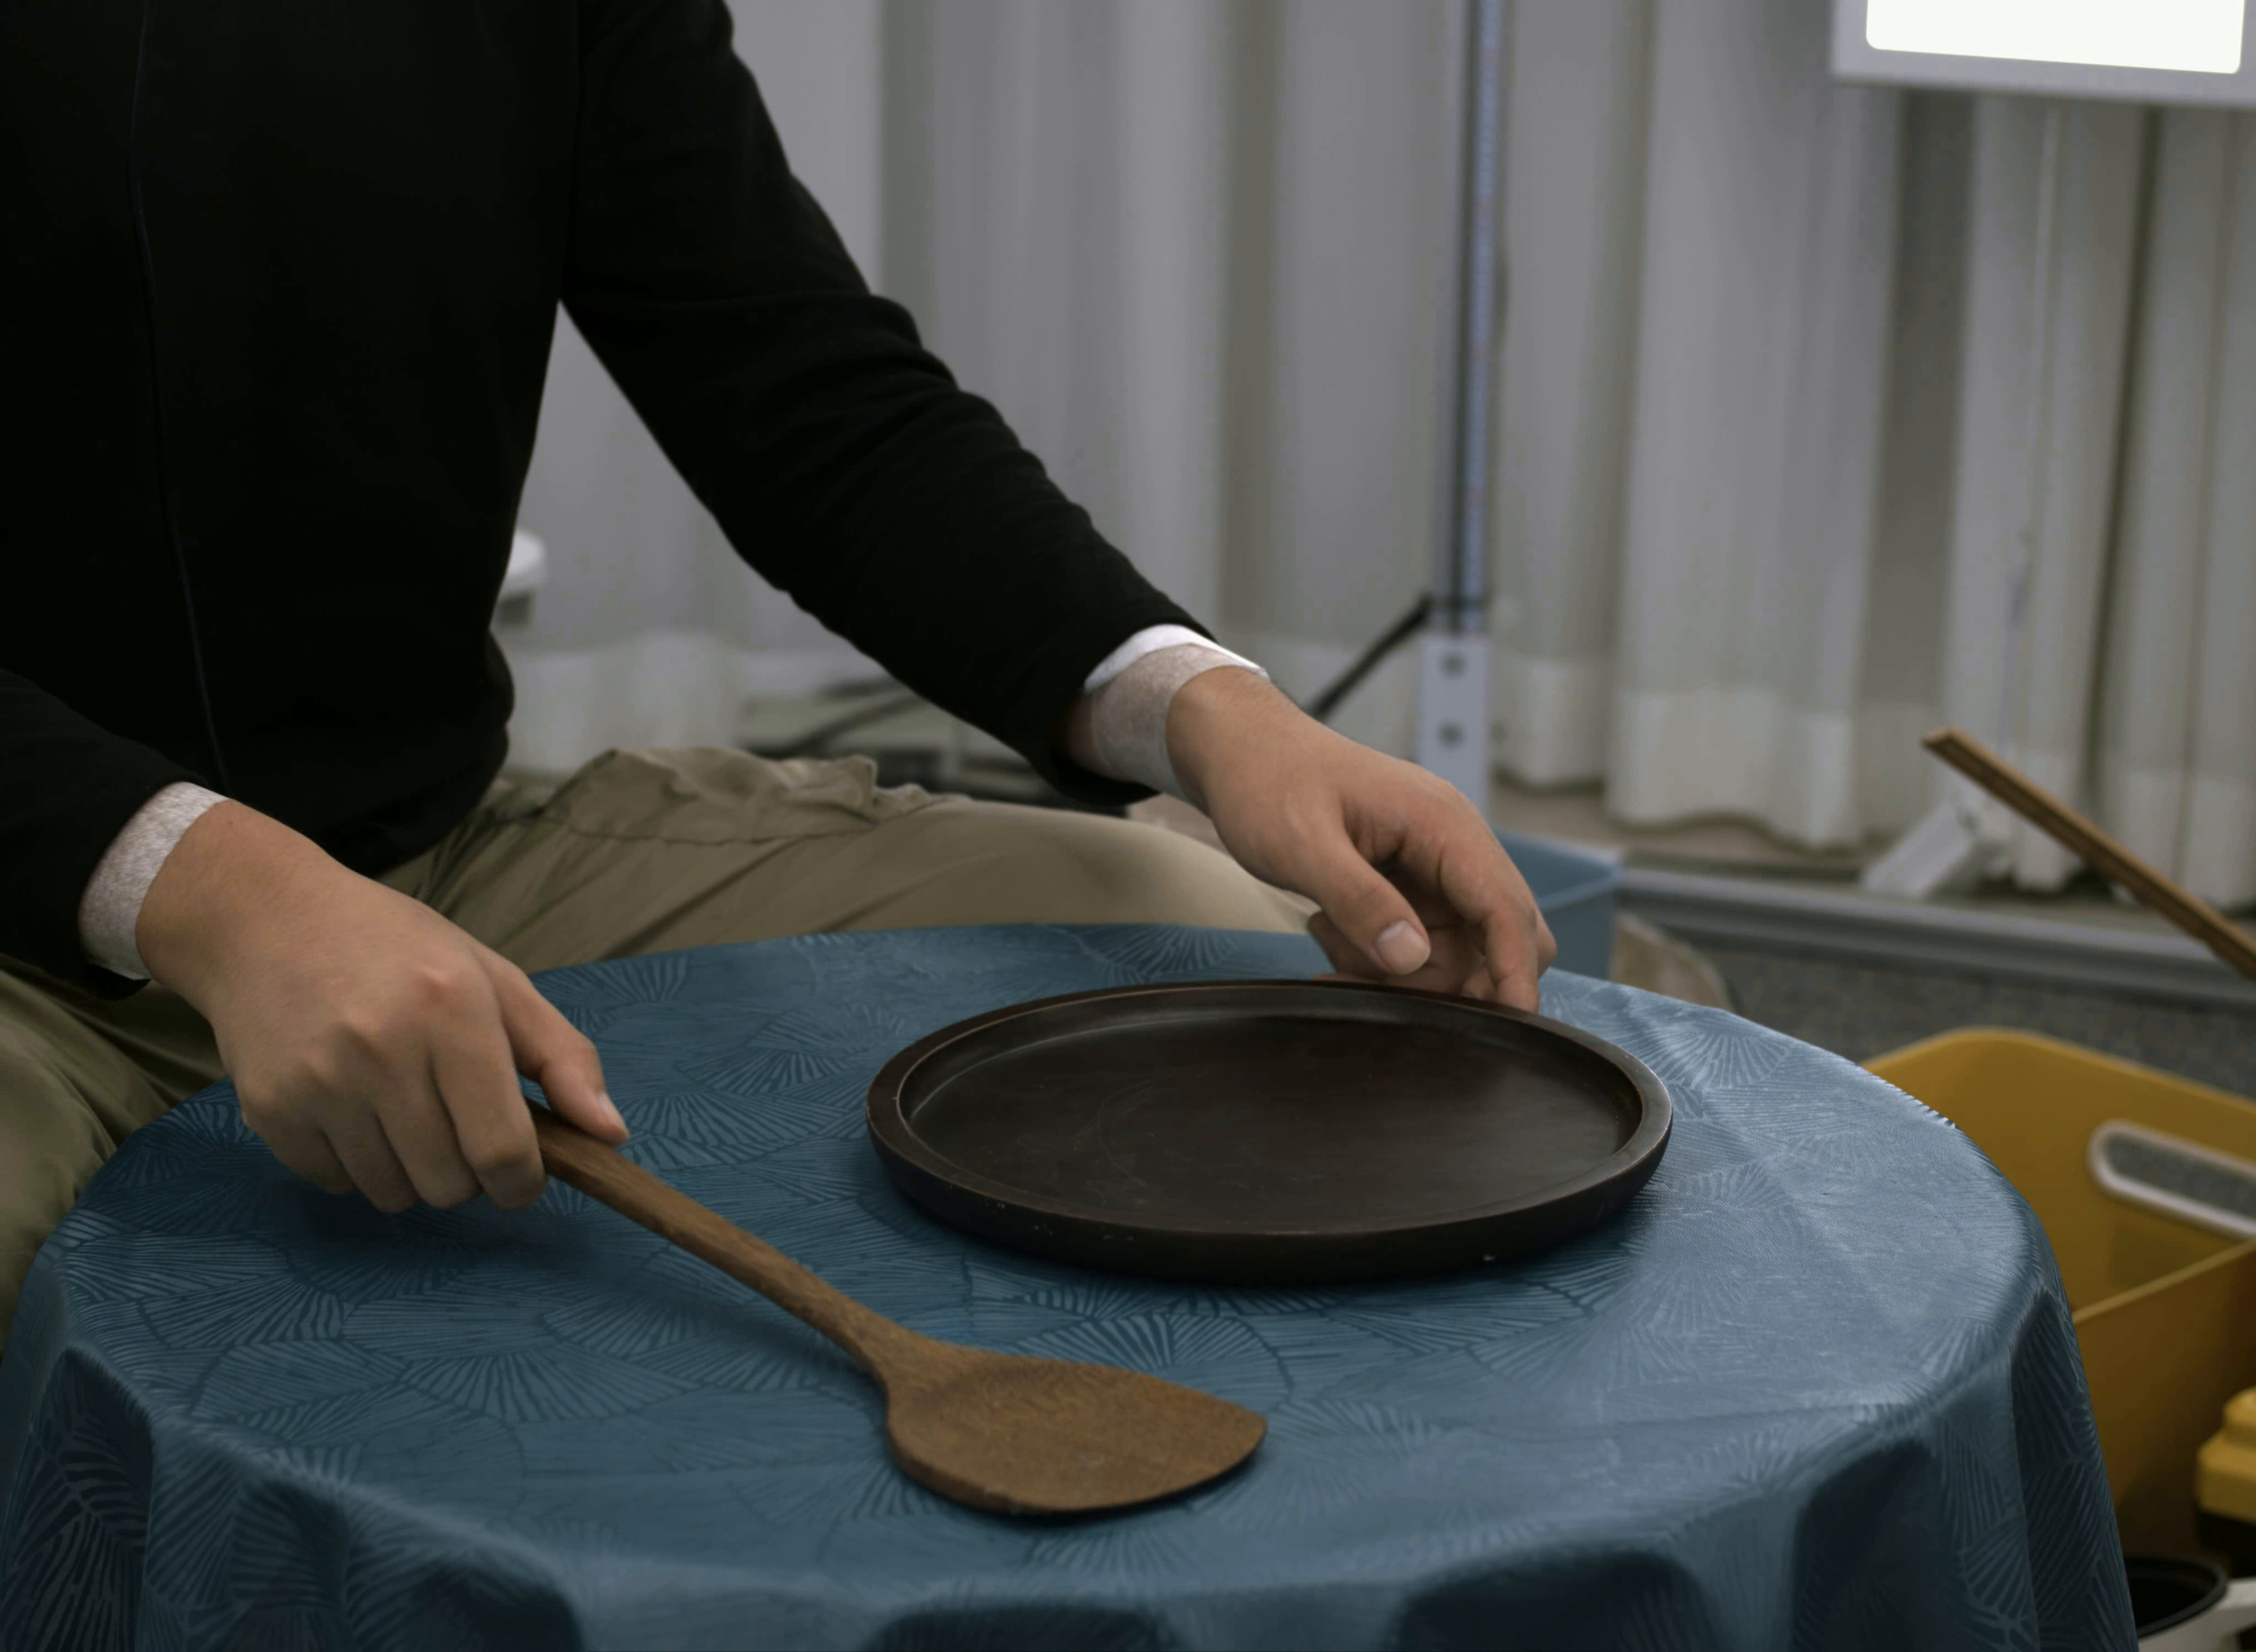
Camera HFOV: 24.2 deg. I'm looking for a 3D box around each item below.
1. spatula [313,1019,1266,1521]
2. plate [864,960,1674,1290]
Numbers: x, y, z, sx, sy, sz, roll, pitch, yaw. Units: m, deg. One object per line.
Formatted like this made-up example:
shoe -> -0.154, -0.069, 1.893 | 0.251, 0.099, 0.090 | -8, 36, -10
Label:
spatula -> -0.117, 0.119, 1.507 | 0.096, 0.016, 0.380 | -14, 28, -42
plate -> 0.044, 0.094, 1.644 | 0.254, 0.029, 0.253 | -1, 16, 1
